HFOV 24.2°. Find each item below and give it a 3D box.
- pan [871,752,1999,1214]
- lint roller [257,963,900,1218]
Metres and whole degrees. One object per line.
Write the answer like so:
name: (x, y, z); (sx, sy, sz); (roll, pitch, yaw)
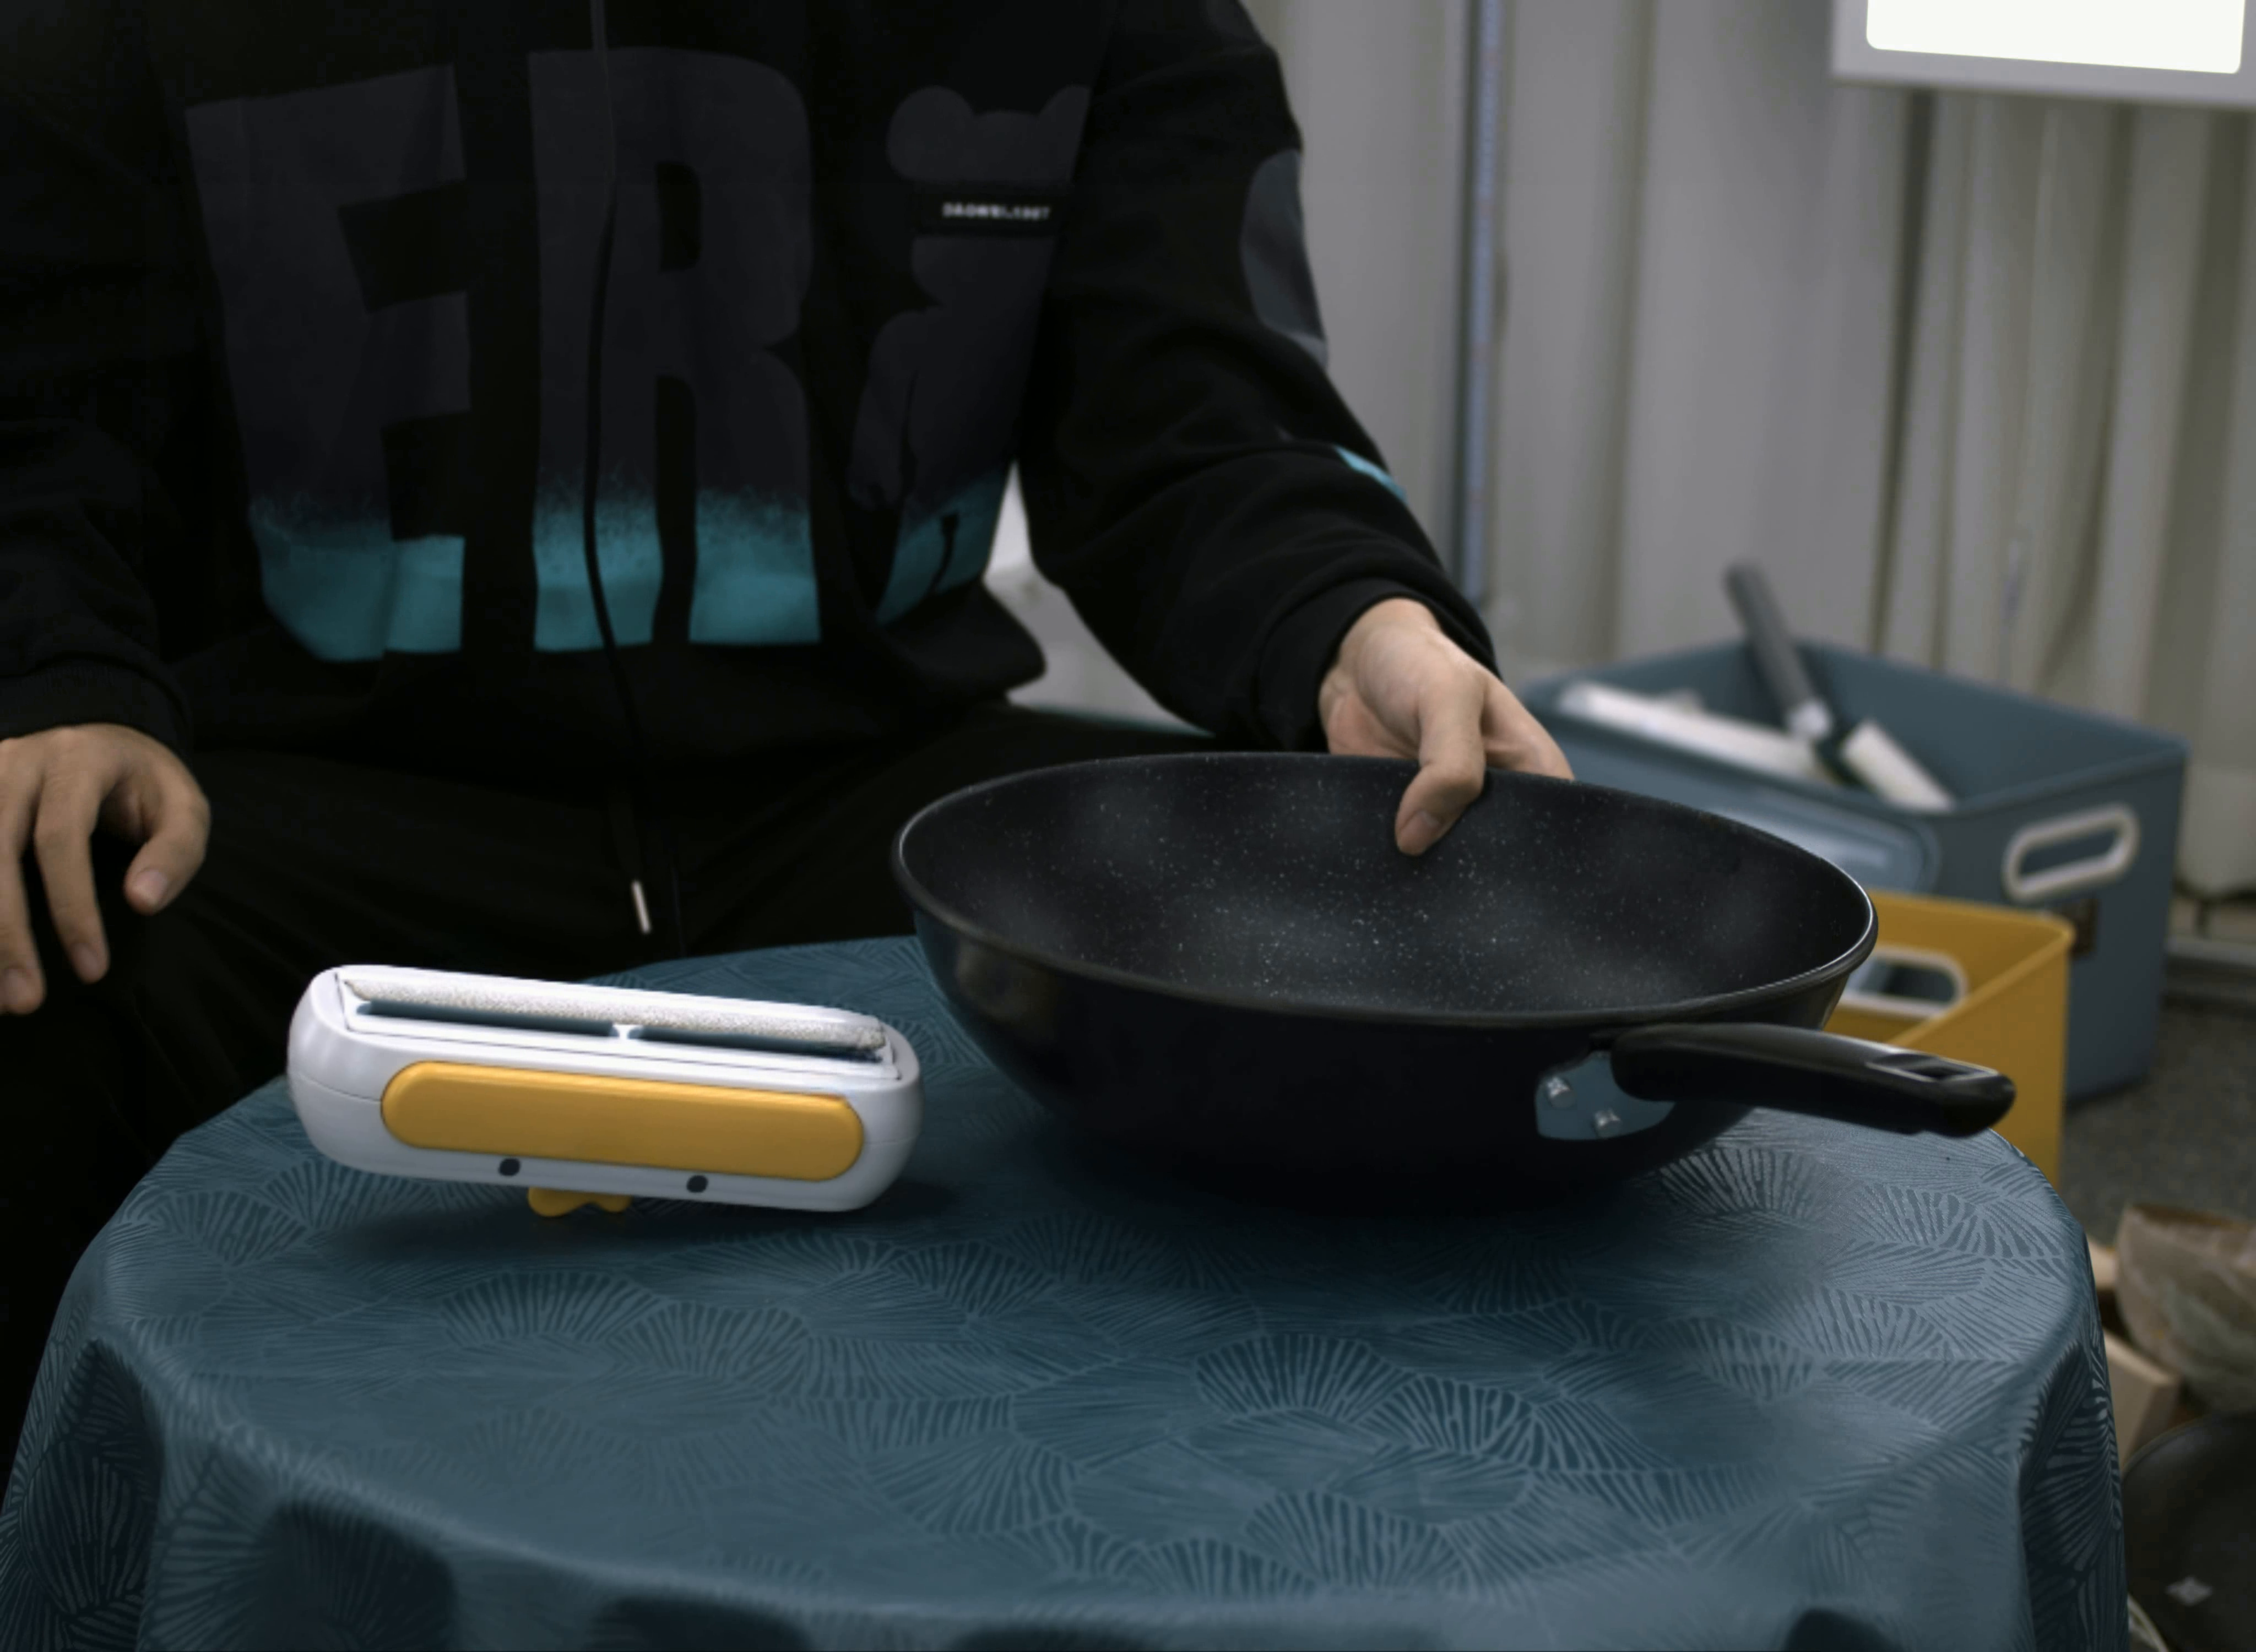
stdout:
pan: (0.111, 0.064, 1.583); (0.311, 0.112, 0.471); (-6, 17, -27)
lint roller: (-0.175, 0.072, 1.635); (0.193, 0.074, 0.191); (2, 13, -12)
